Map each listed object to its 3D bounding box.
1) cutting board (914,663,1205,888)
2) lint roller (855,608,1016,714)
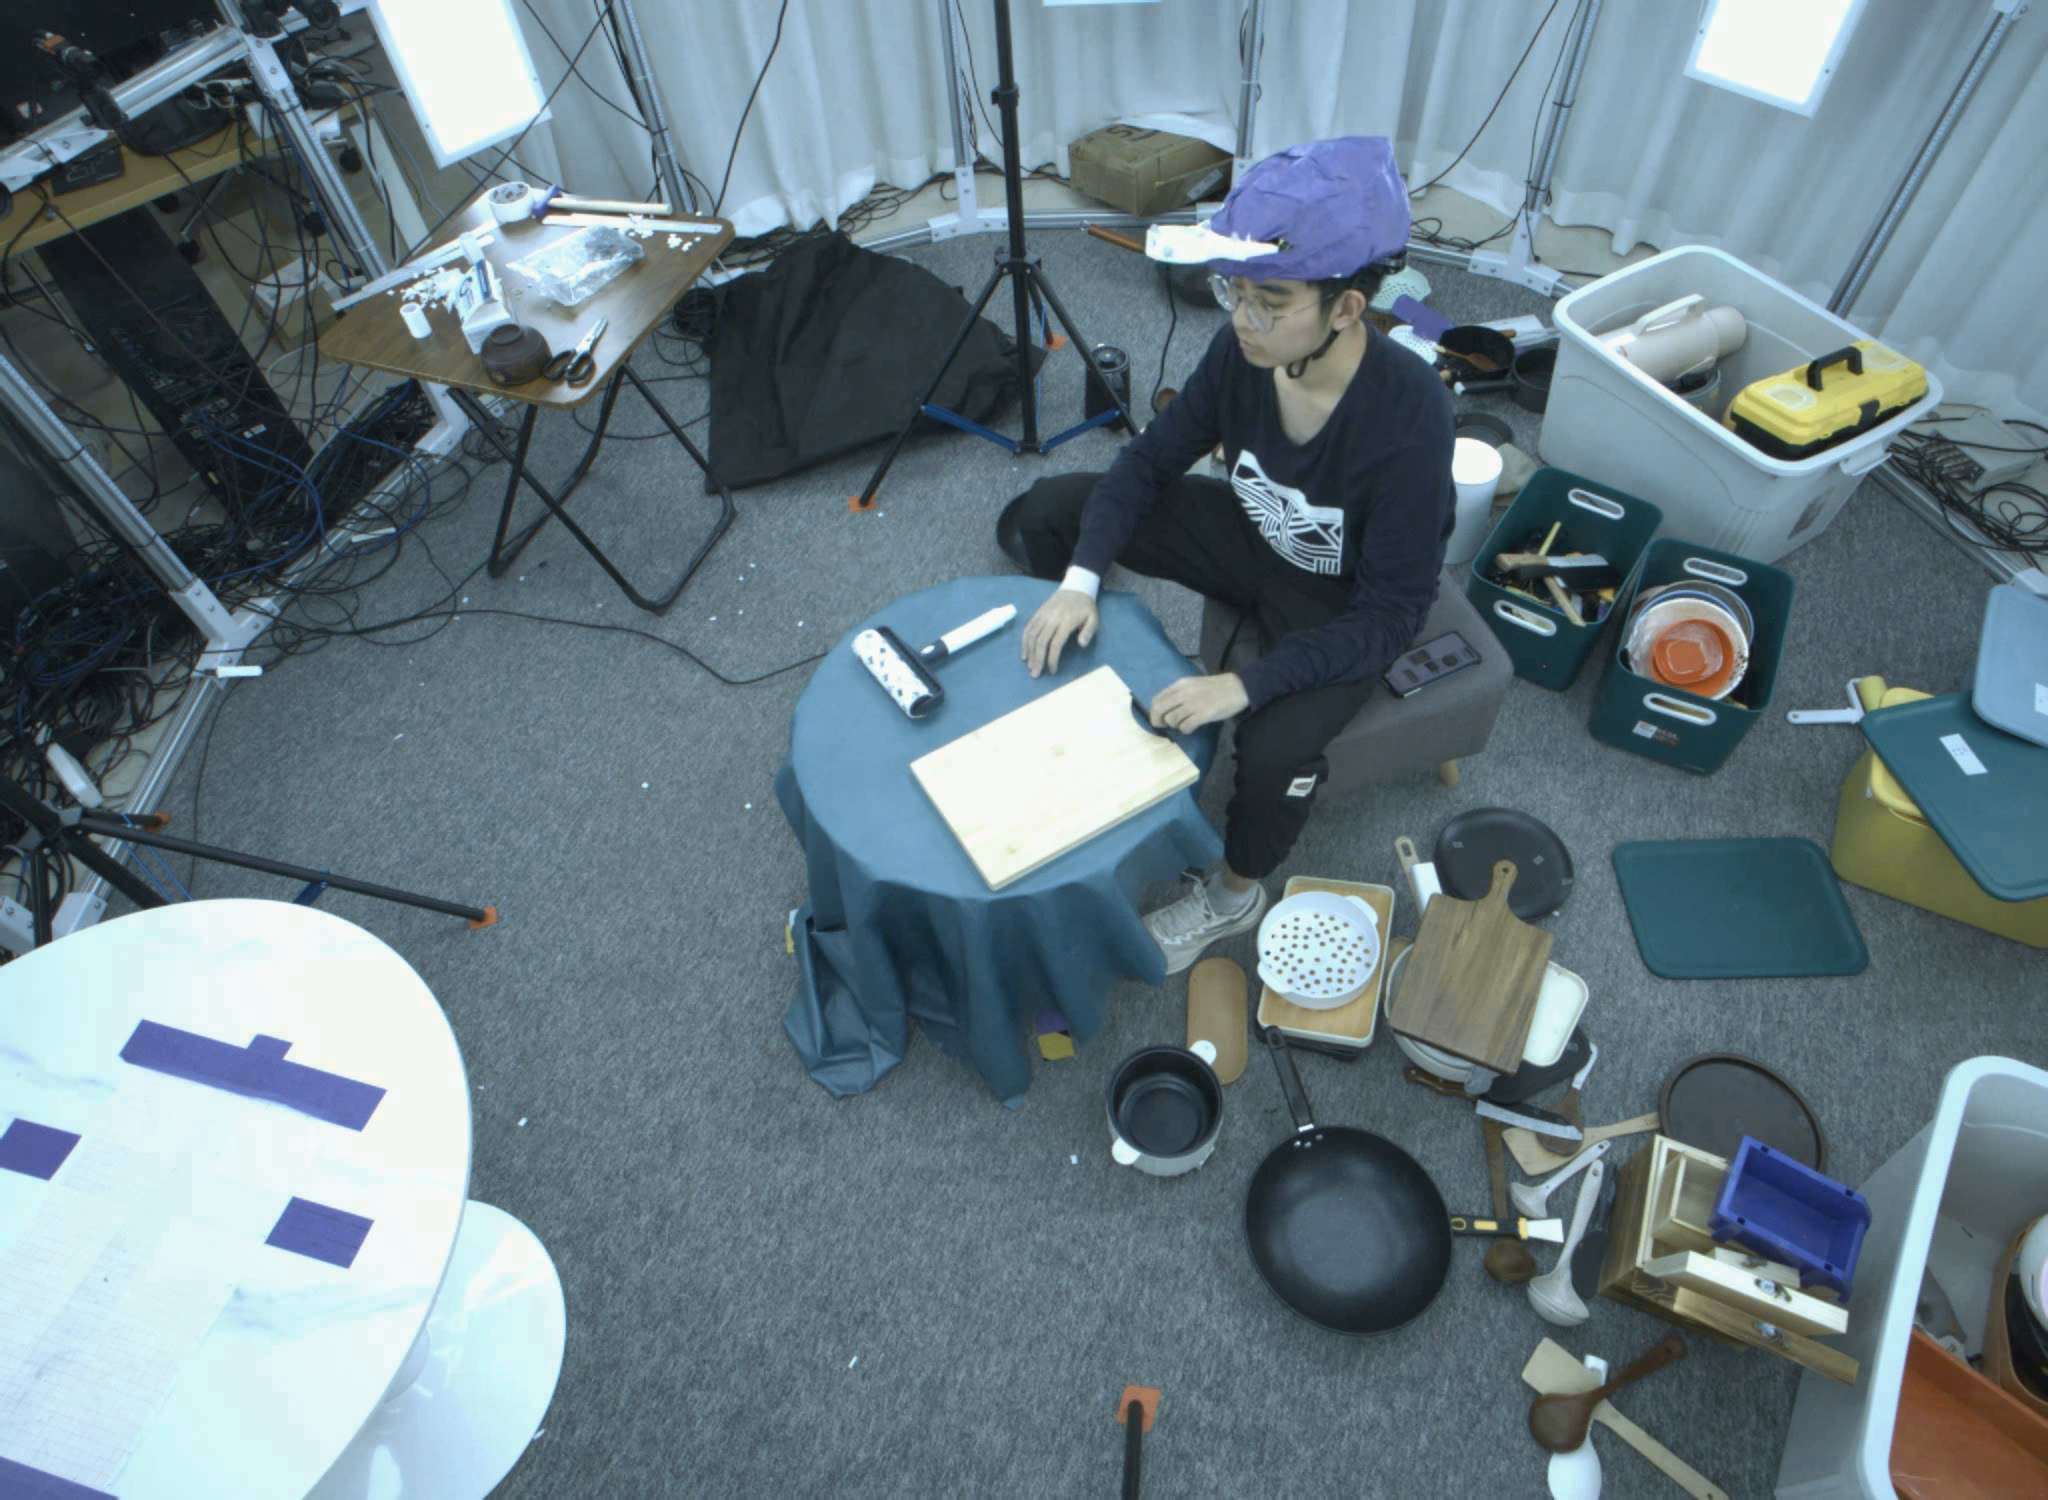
[{"bbox_3d":[0.046,0.027,1.765,0.351,0.024,0.246,-28,59,-17],"label":"cutting board"},{"bbox_3d":[-0.117,-0.168,1.893,0.249,0.051,0.173,-31,58,-22],"label":"lint roller"}]
